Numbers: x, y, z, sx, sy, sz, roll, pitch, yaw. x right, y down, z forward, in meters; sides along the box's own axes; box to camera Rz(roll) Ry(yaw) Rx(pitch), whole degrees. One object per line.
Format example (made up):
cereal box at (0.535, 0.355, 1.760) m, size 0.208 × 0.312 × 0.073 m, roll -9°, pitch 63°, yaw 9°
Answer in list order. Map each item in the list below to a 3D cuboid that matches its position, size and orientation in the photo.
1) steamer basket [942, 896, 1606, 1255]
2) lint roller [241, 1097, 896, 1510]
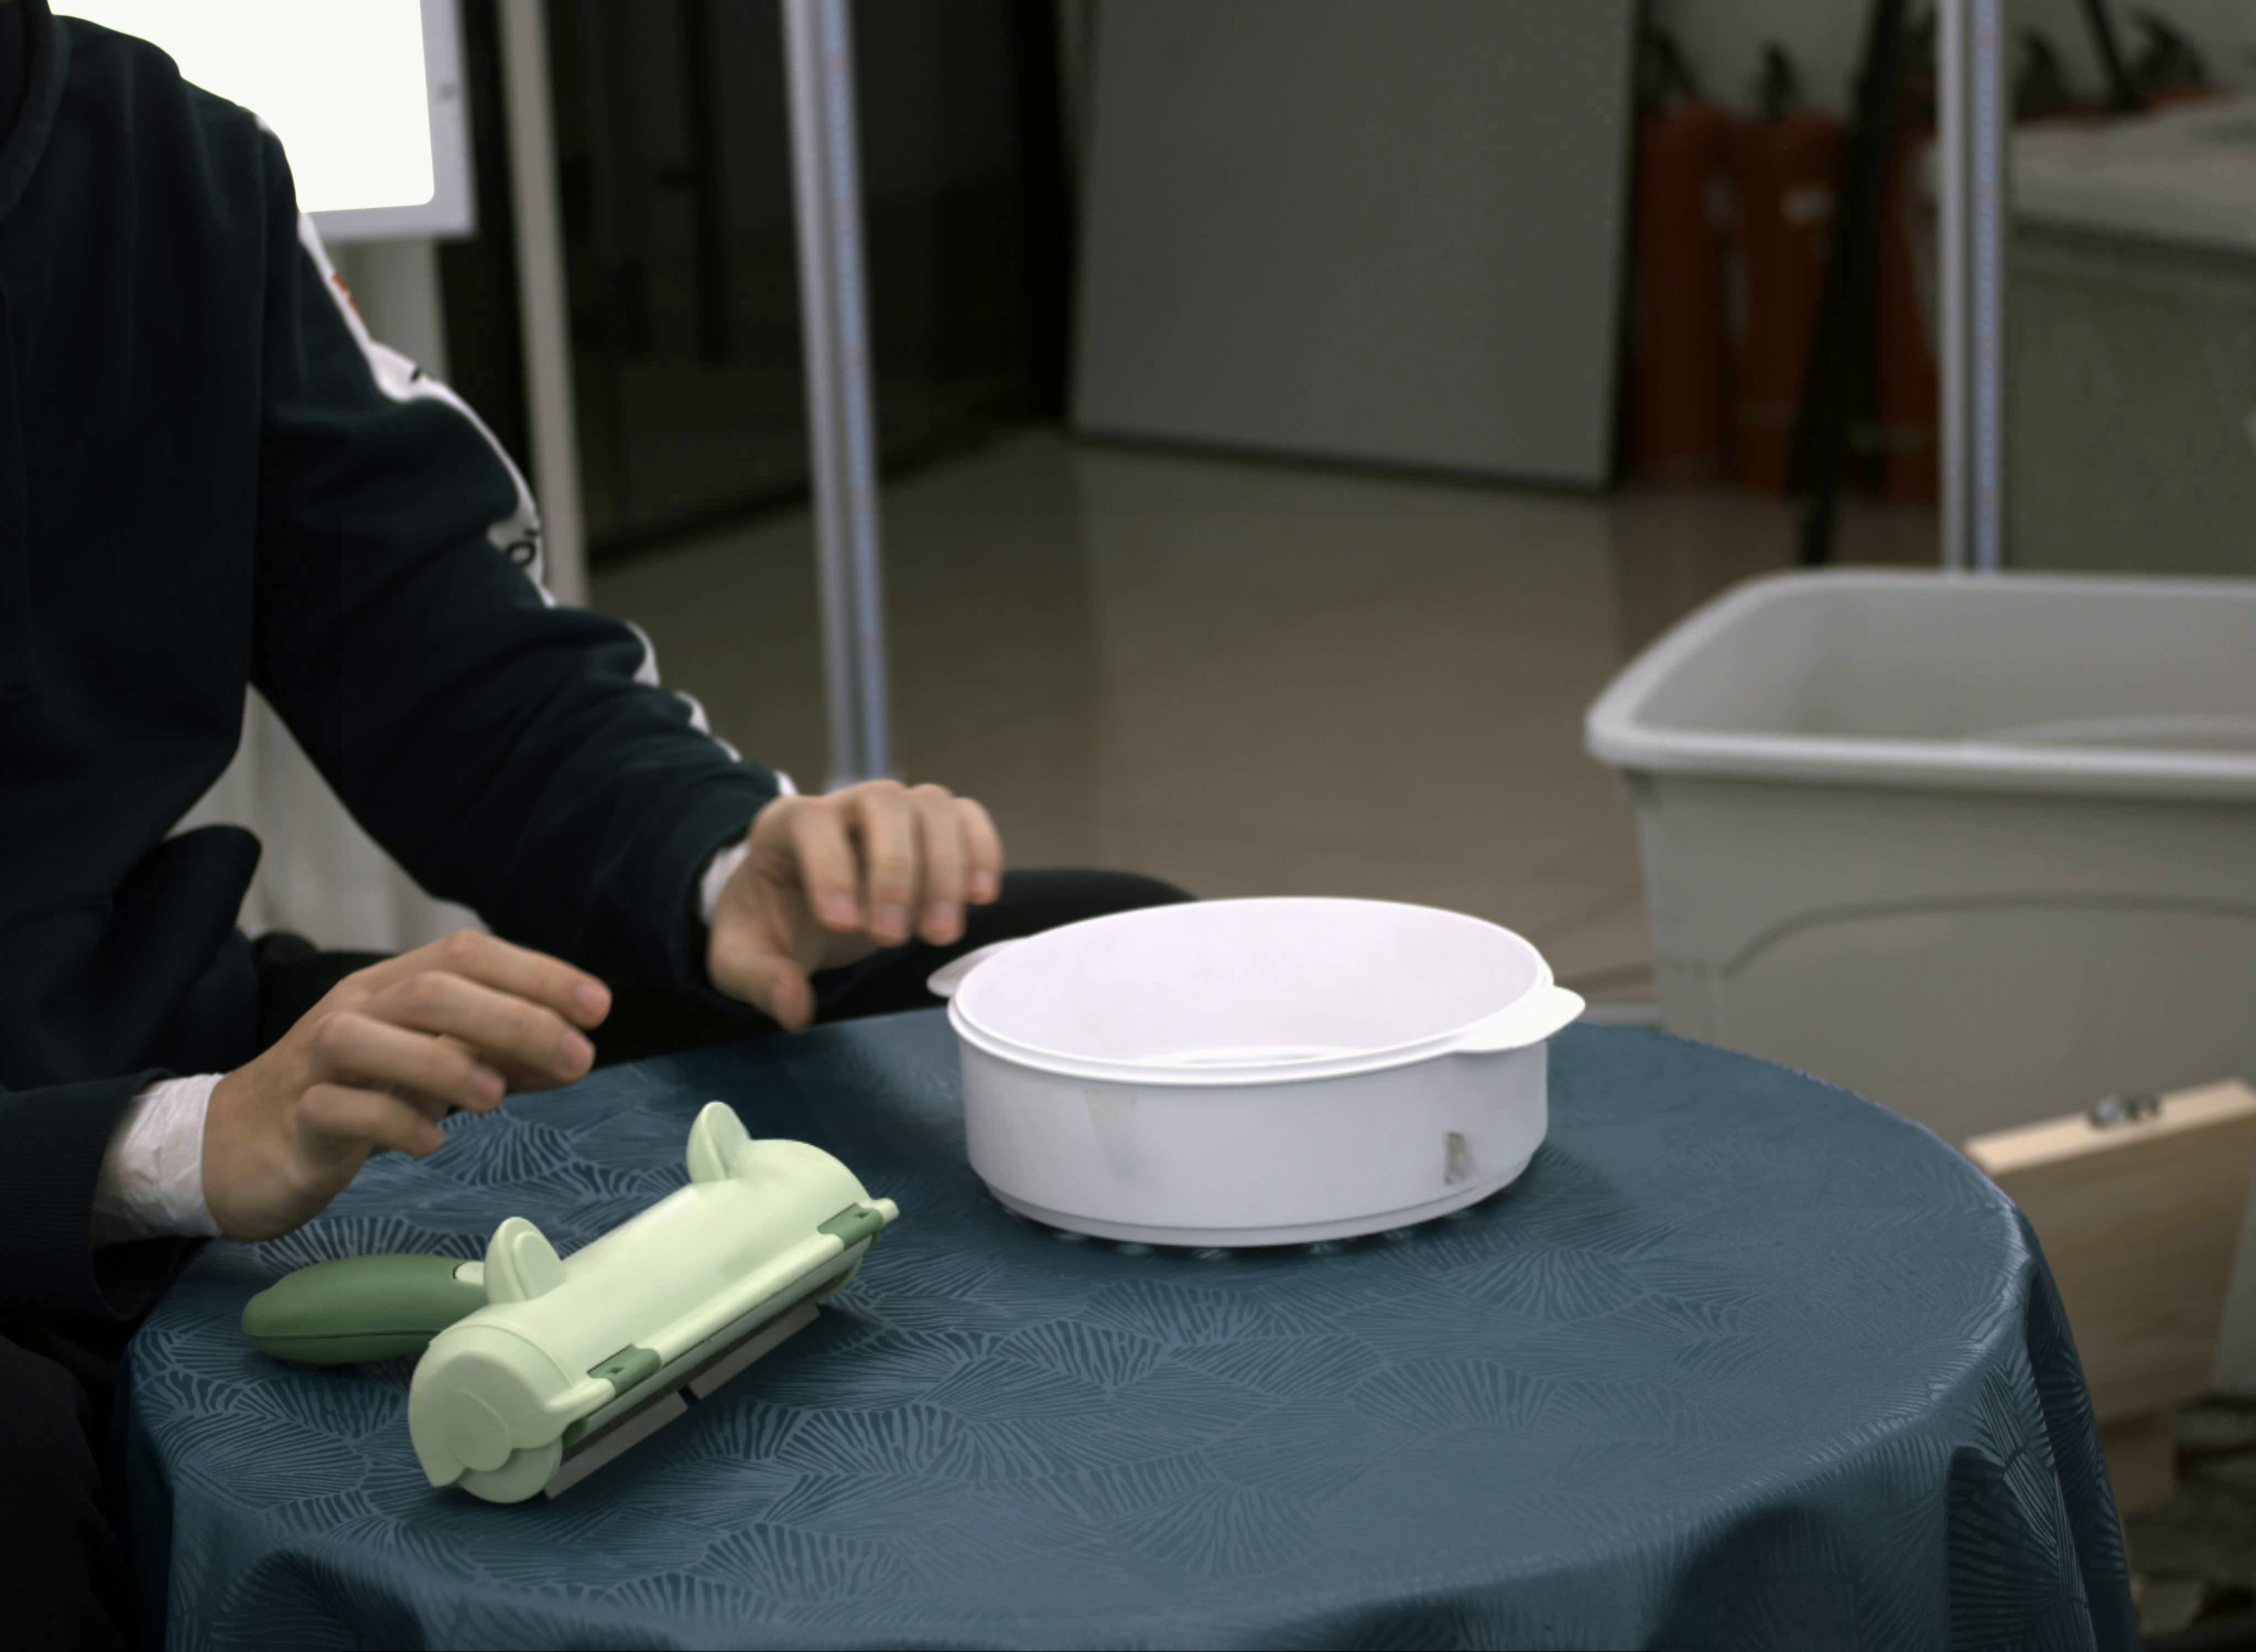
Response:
steamer basket at (0.047, 0.082, 1.772) m, size 0.231 × 0.070 × 0.199 m, roll 6°, pitch 17°, yaw 29°
lint roller at (-0.190, 0.131, 1.623) m, size 0.184 × 0.083 × 0.196 m, roll 8°, pitch 18°, yaw 26°
